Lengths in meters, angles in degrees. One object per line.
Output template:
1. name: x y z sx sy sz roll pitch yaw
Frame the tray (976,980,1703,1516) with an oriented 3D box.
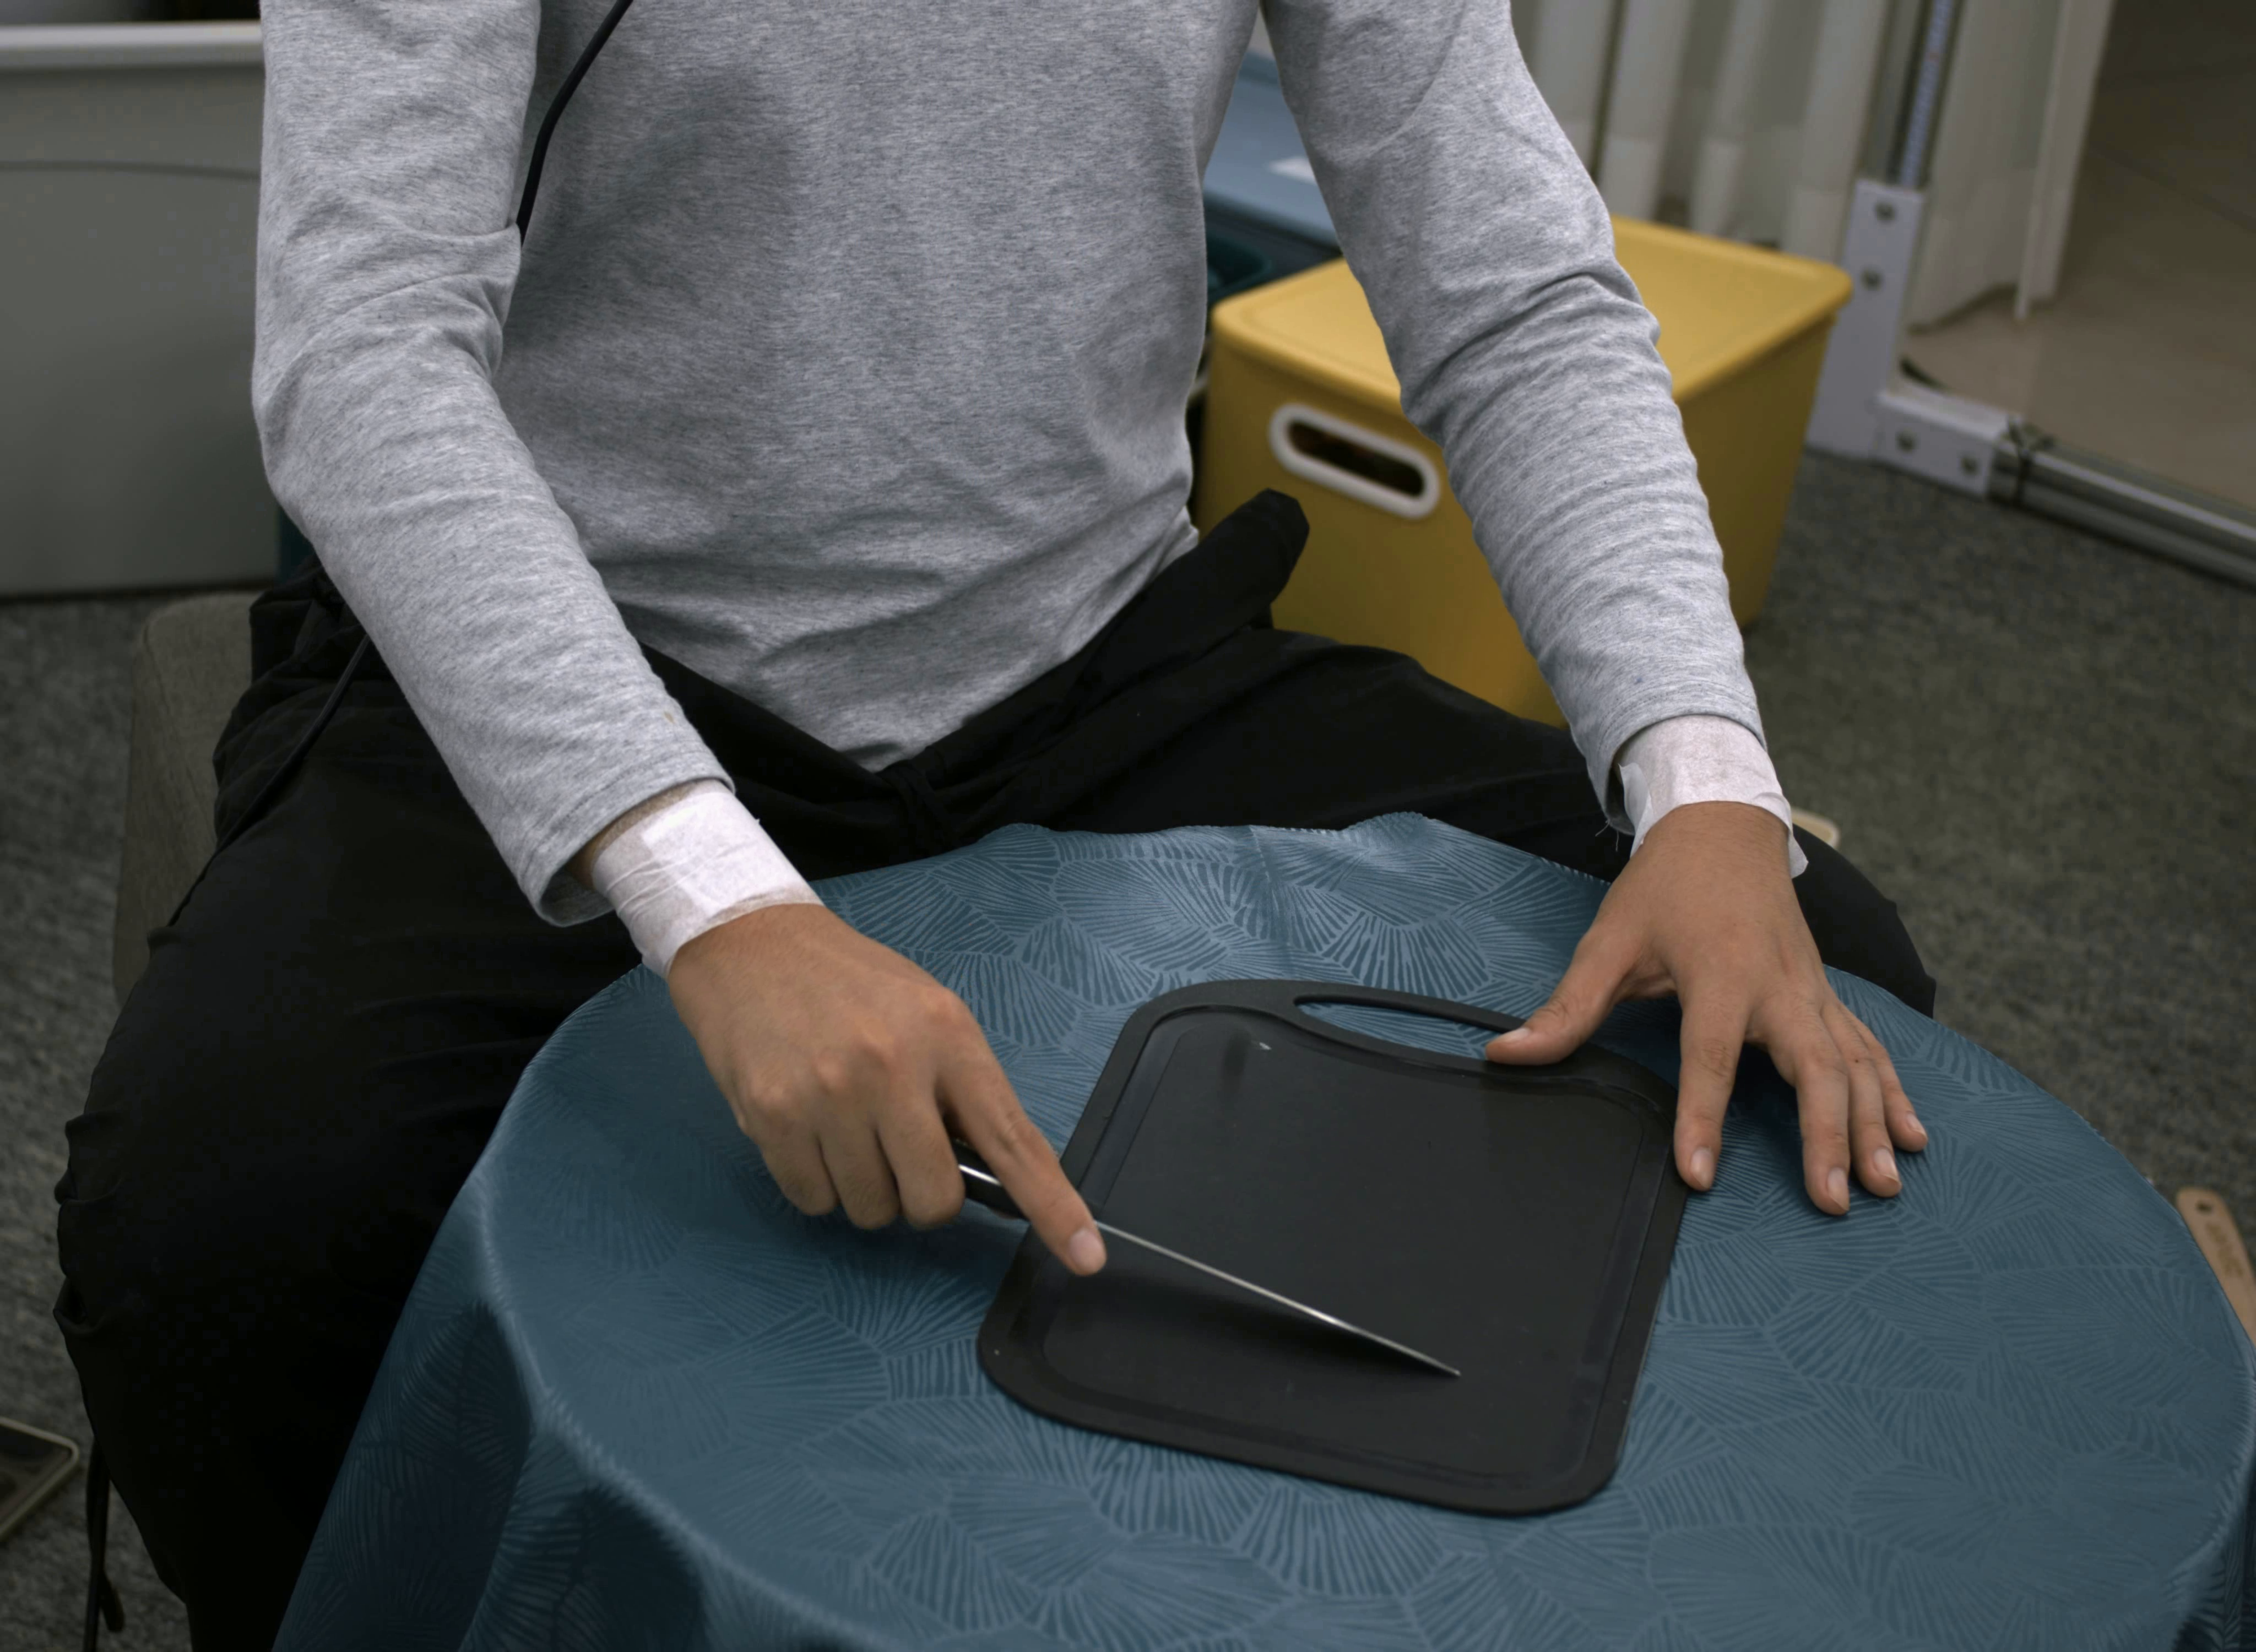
1. tray: 0.079 0.131 1.803 0.211 0.010 0.326 12 27 9

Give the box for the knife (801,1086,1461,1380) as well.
1. knife: -0.001 0.135 1.743 0.238 0.016 0.024 22 -3 12
